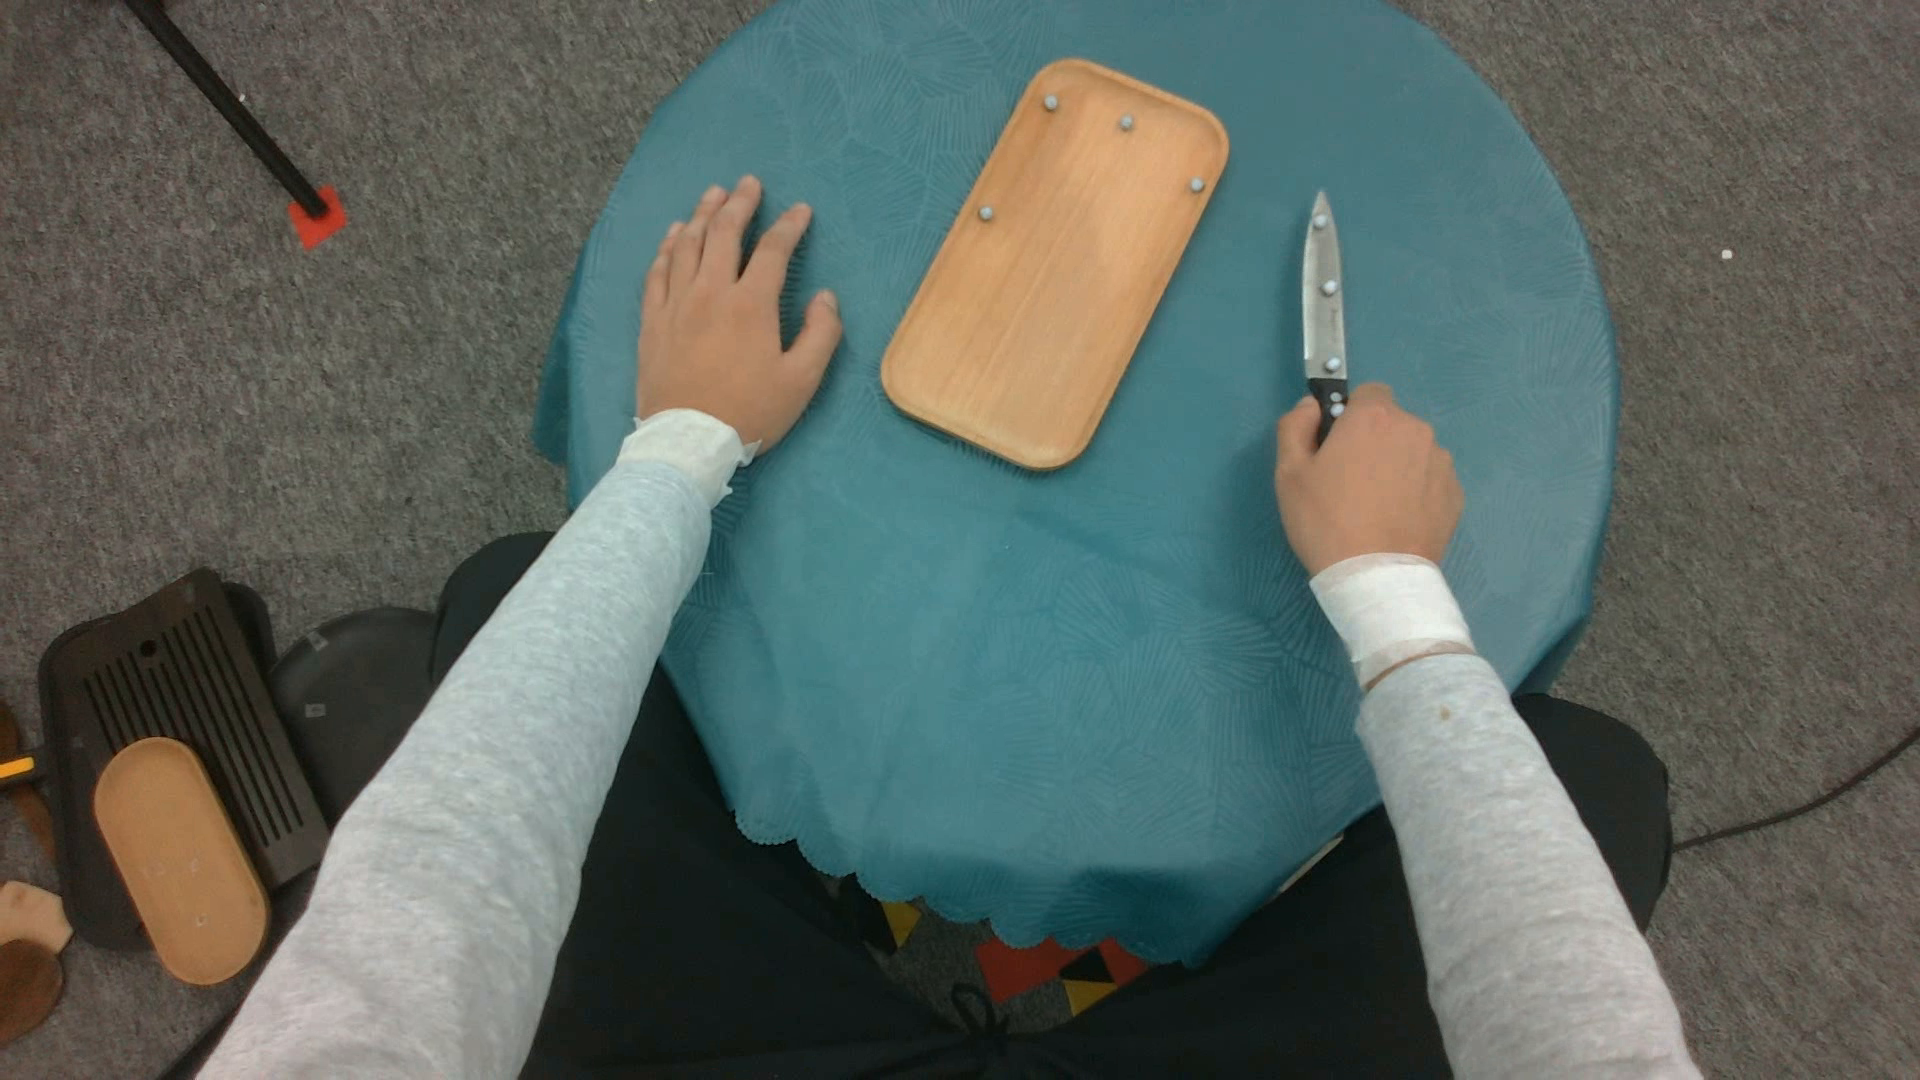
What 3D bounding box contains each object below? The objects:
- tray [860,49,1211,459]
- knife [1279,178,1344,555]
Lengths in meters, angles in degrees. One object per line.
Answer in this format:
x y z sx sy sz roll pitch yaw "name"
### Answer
0.046 -0.169 0.797 0.130 0.023 0.251 25 75 9 "tray"
0.193 -0.102 0.759 0.024 0.016 0.239 2 67 -2 "knife"
